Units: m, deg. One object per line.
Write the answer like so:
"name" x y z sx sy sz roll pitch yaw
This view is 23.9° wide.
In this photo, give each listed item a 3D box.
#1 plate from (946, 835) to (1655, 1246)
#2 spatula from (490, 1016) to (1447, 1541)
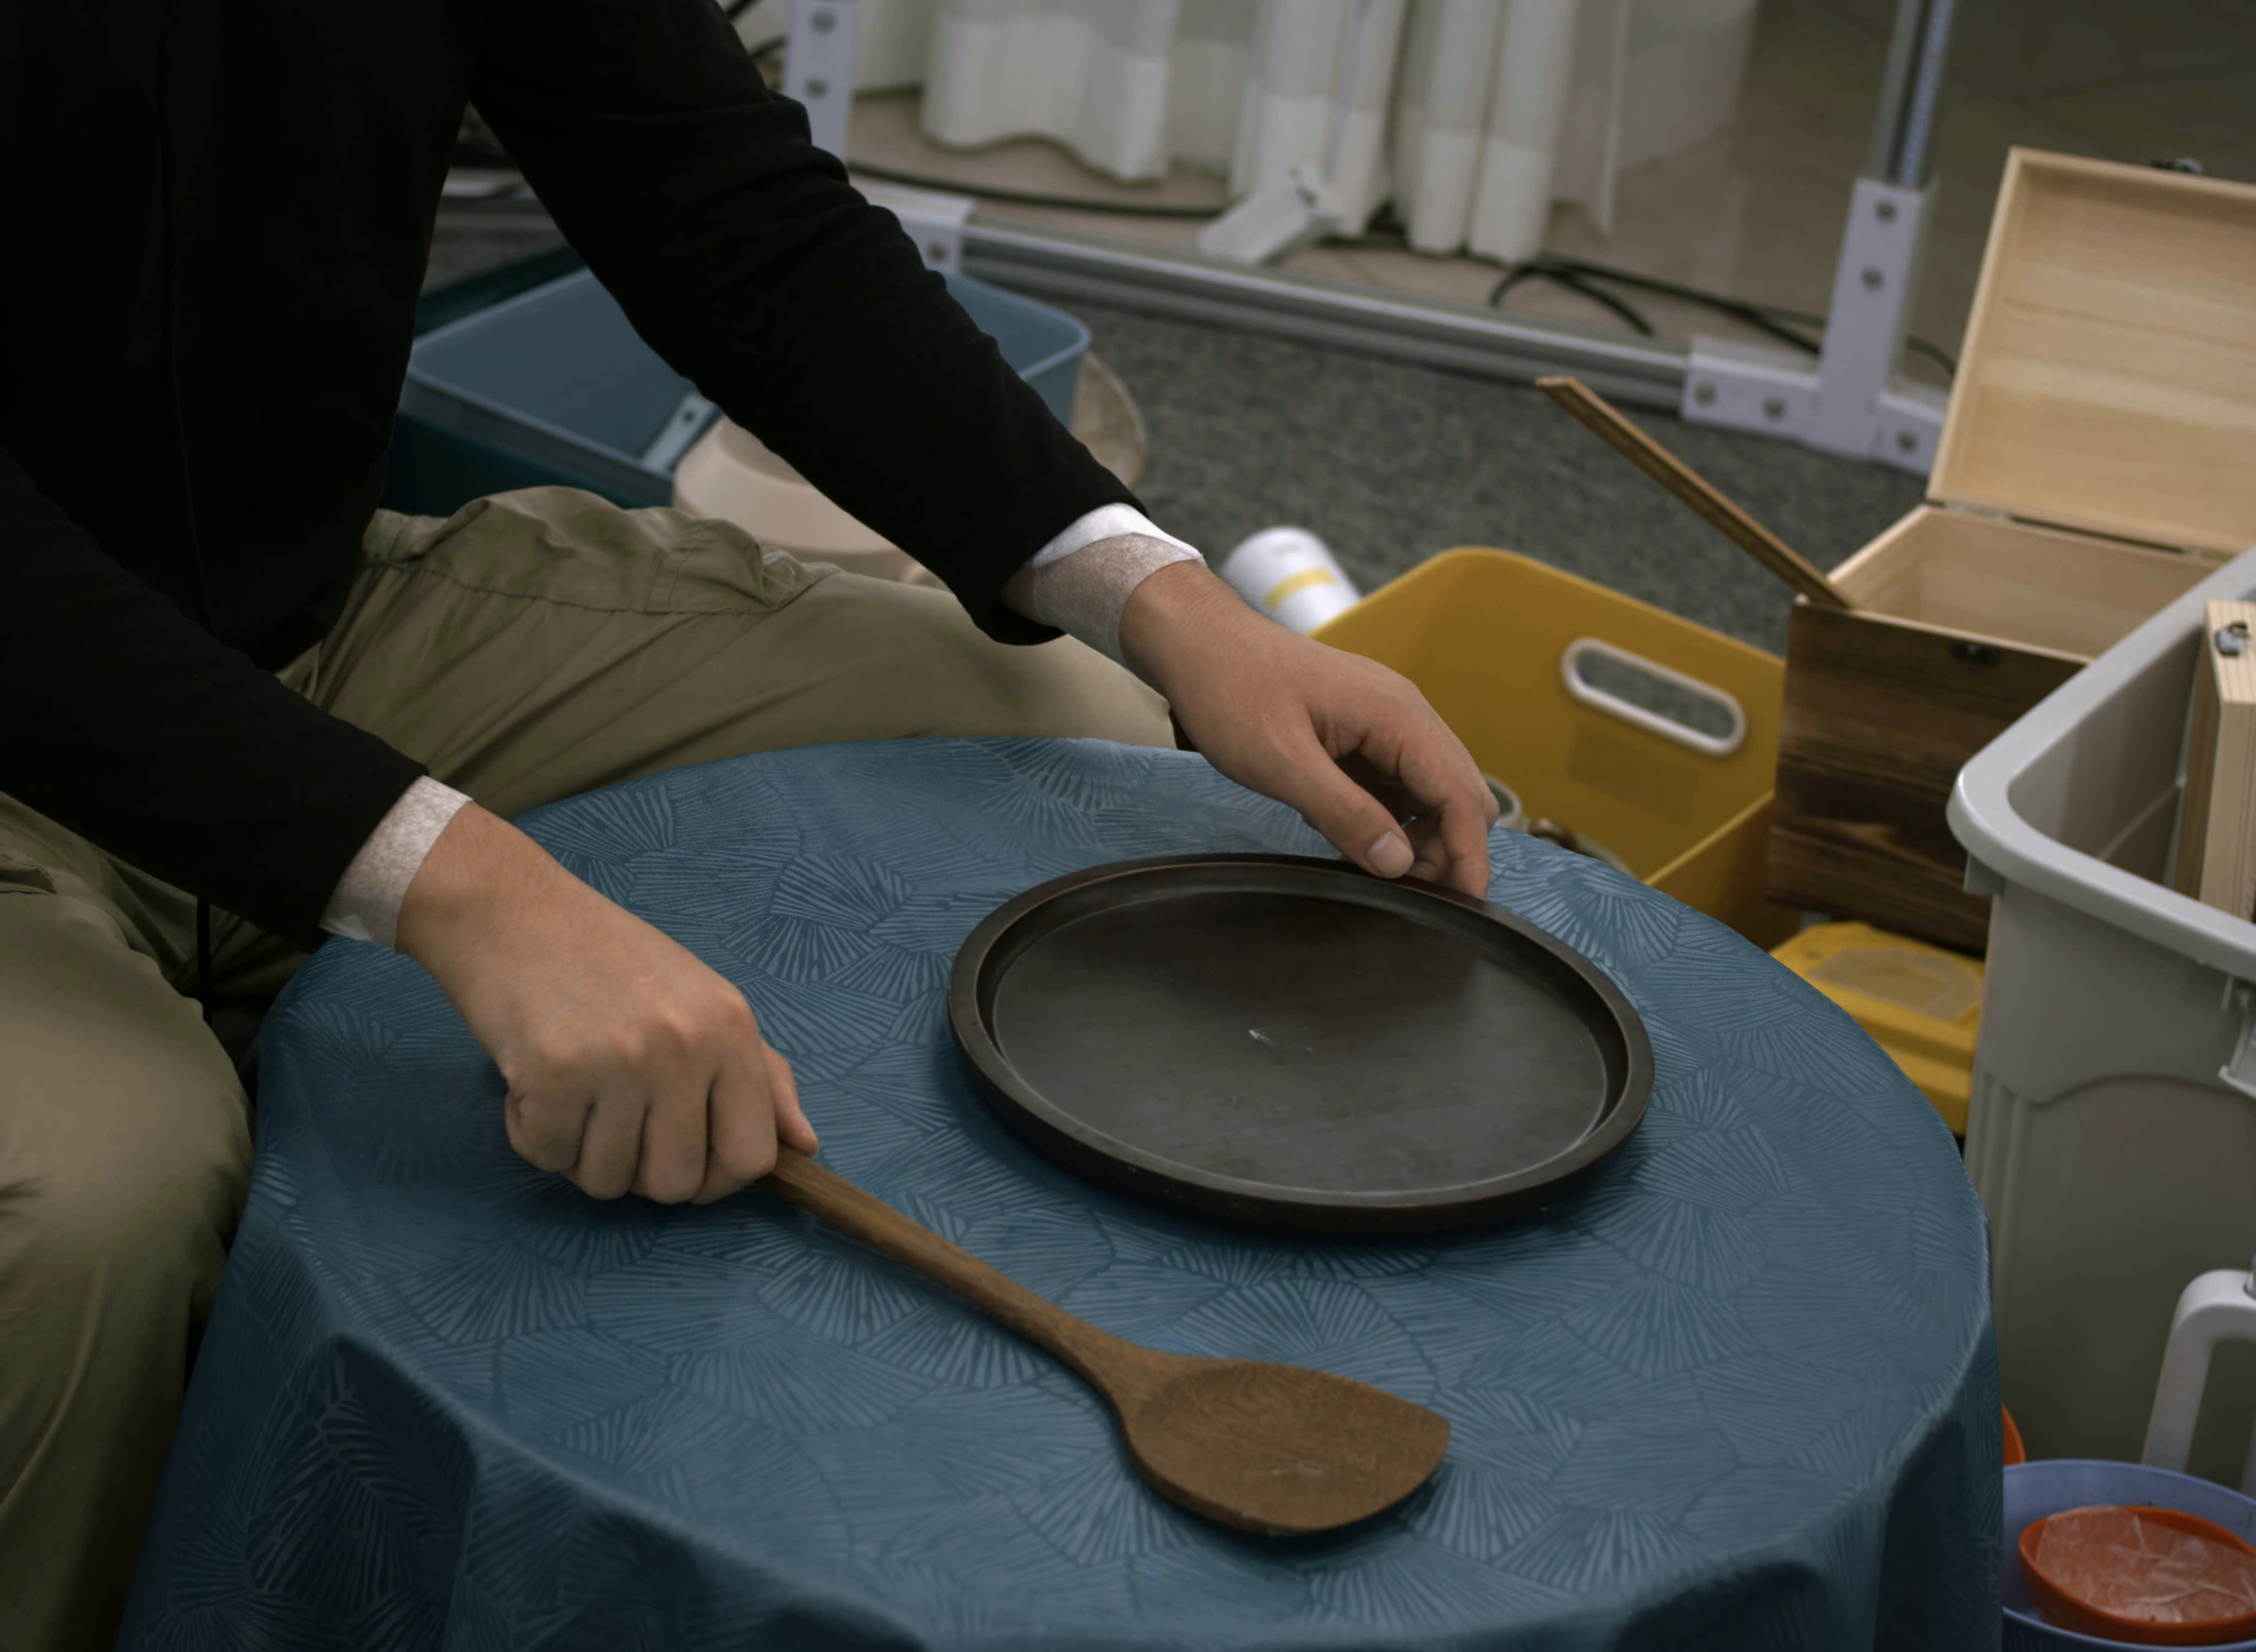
"plate" 0.060 0.077 1.880 0.254 0.029 0.256 4 28 -2
"spatula" -0.067 0.139 1.735 0.388 0.016 0.096 26 32 31
